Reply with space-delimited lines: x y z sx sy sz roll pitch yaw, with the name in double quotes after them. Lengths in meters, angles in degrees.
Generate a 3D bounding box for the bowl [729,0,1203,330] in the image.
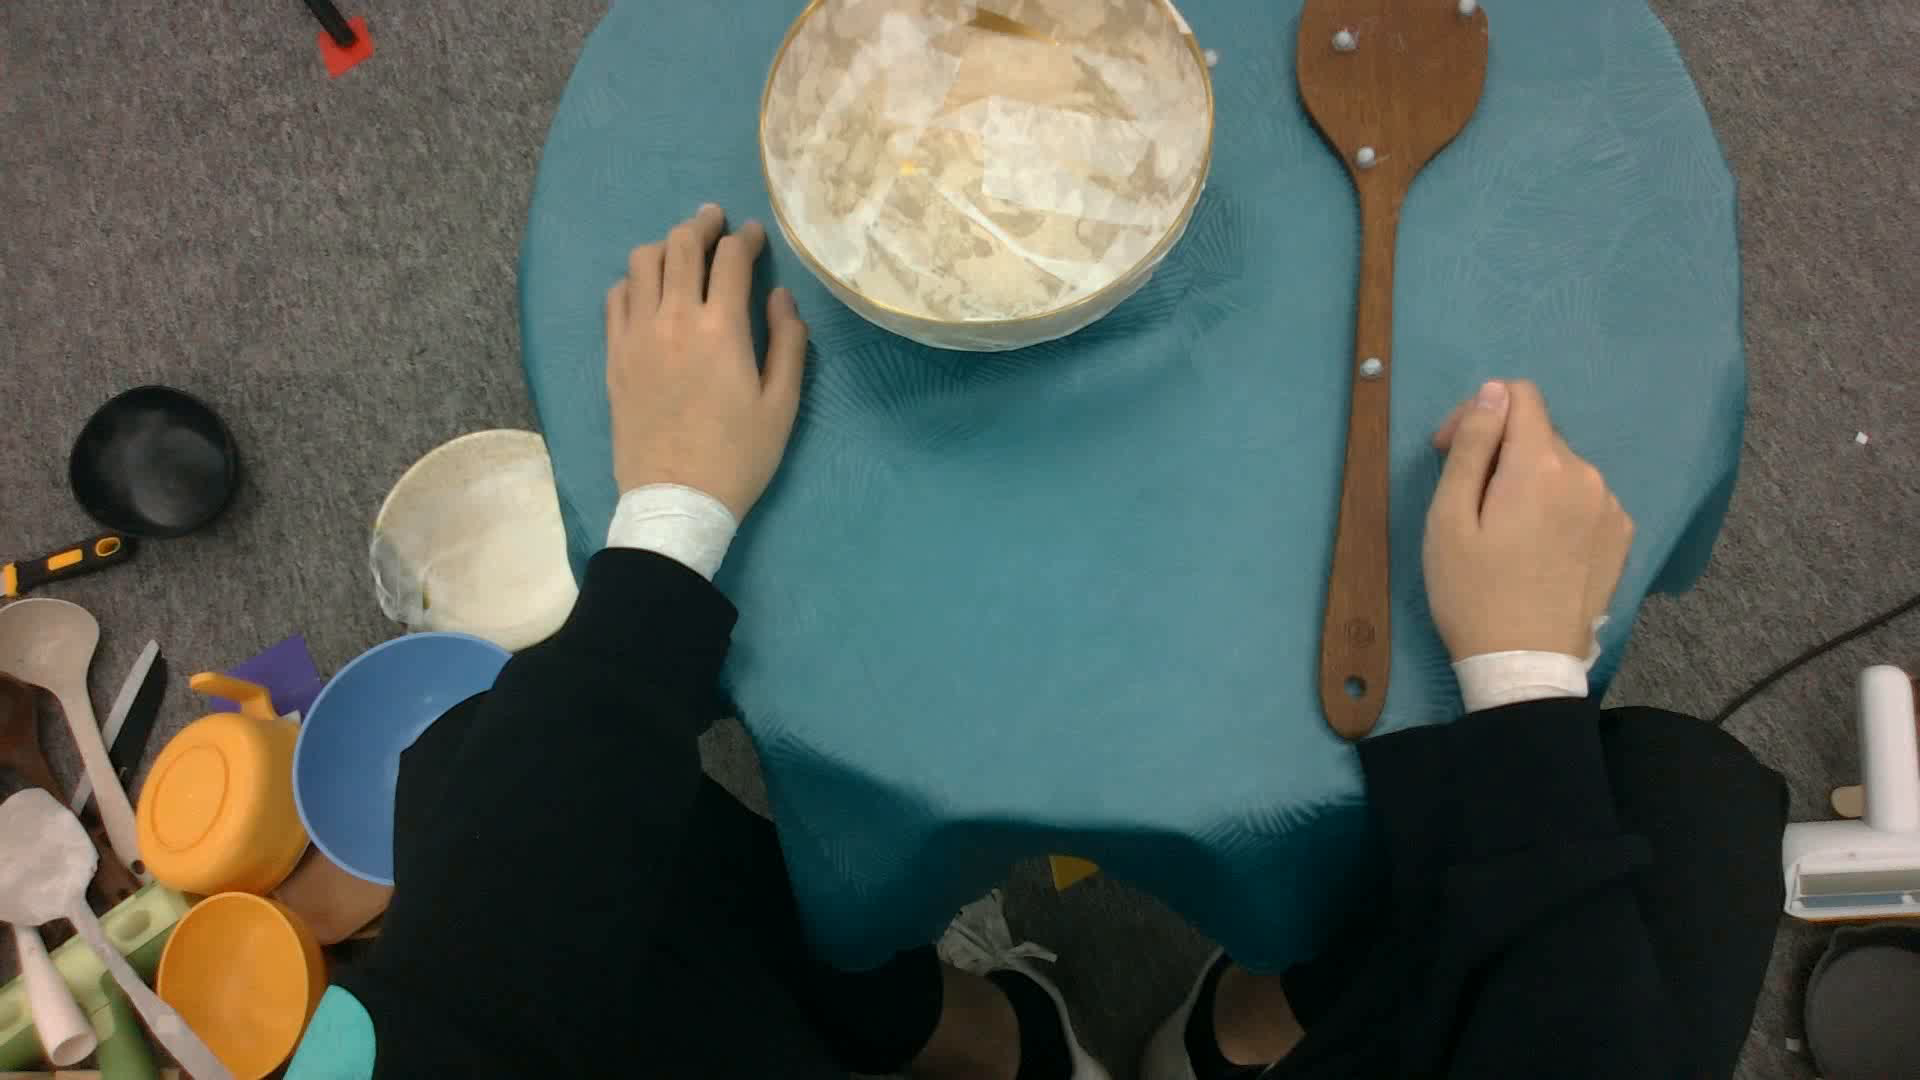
0.002 -0.179 0.644 0.215 0.094 0.215 0 73 1 "bowl"

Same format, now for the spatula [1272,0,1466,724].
0.188 -0.104 0.656 0.096 0.016 0.387 6 73 5 "spatula"
